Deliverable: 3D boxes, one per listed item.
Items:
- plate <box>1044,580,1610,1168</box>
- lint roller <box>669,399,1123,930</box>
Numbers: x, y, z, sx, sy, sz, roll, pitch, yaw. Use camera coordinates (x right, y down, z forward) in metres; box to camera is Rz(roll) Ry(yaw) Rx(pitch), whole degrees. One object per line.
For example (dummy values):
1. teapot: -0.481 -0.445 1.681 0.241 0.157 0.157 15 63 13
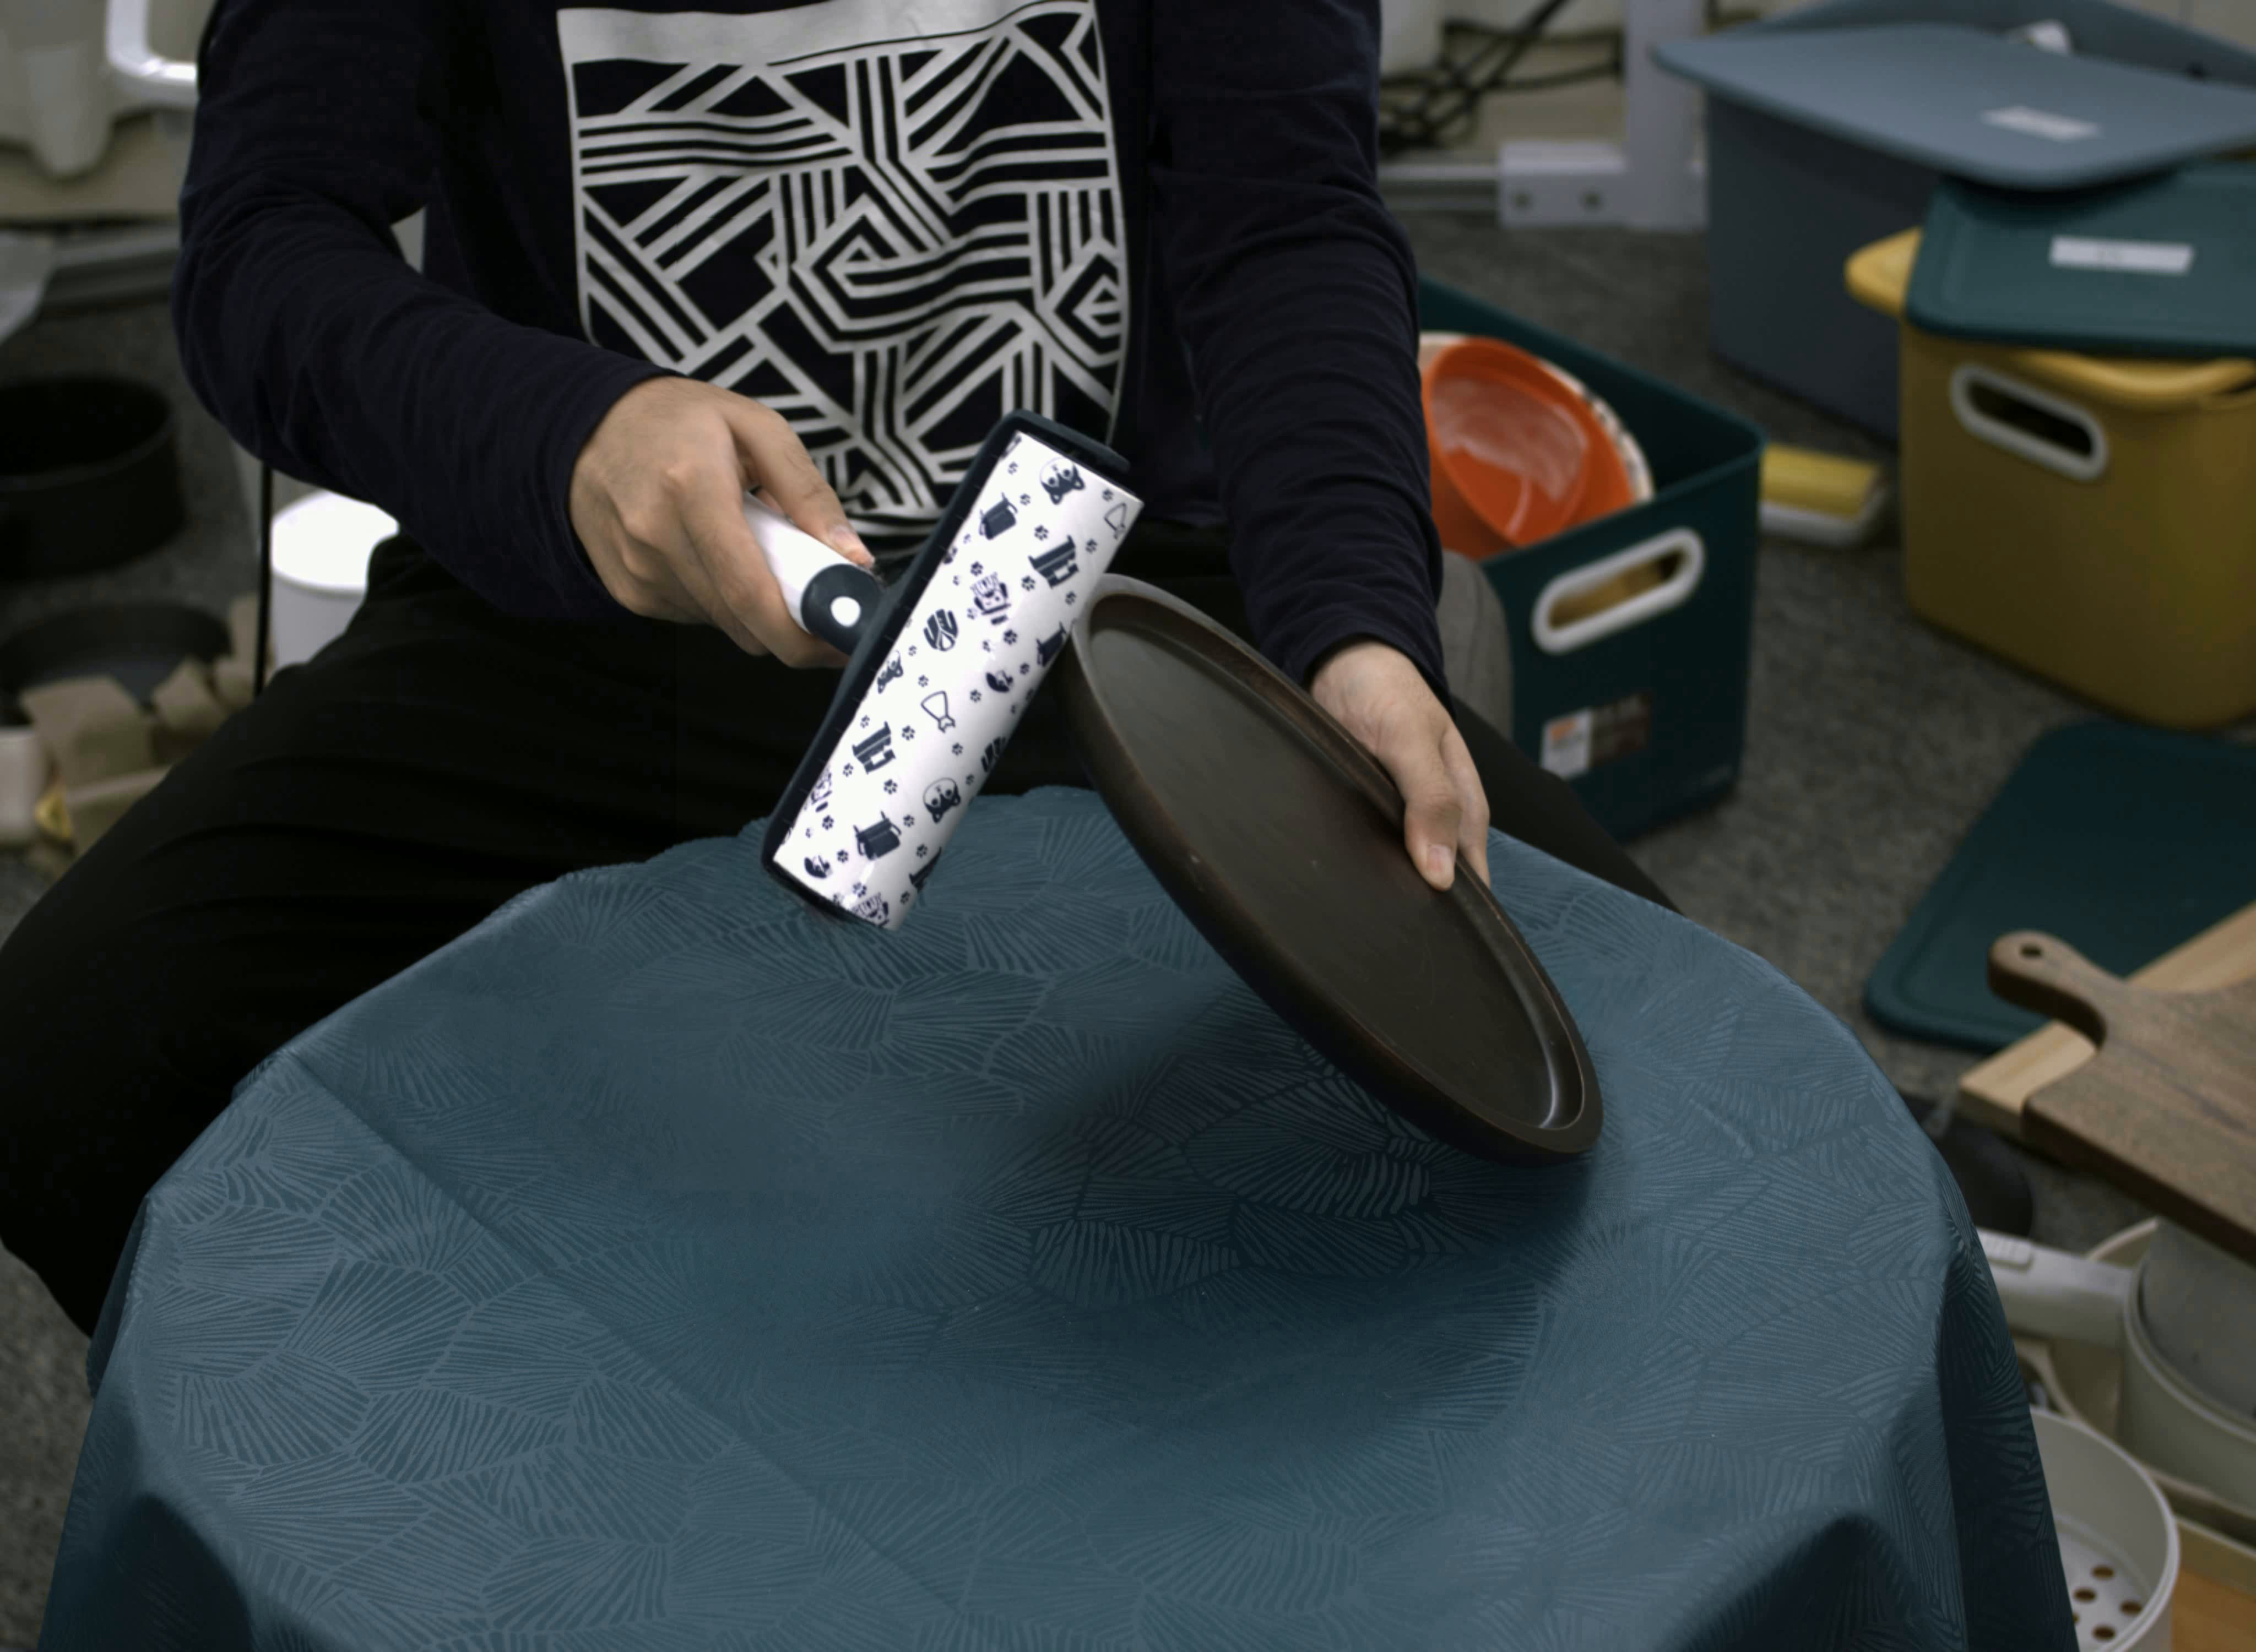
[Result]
1. plate: 0.064 0.017 1.856 0.029 0.253 0.258 -43 24 14
2. lint roller: -0.105 -0.079 1.888 0.050 0.176 0.247 28 2 -34
